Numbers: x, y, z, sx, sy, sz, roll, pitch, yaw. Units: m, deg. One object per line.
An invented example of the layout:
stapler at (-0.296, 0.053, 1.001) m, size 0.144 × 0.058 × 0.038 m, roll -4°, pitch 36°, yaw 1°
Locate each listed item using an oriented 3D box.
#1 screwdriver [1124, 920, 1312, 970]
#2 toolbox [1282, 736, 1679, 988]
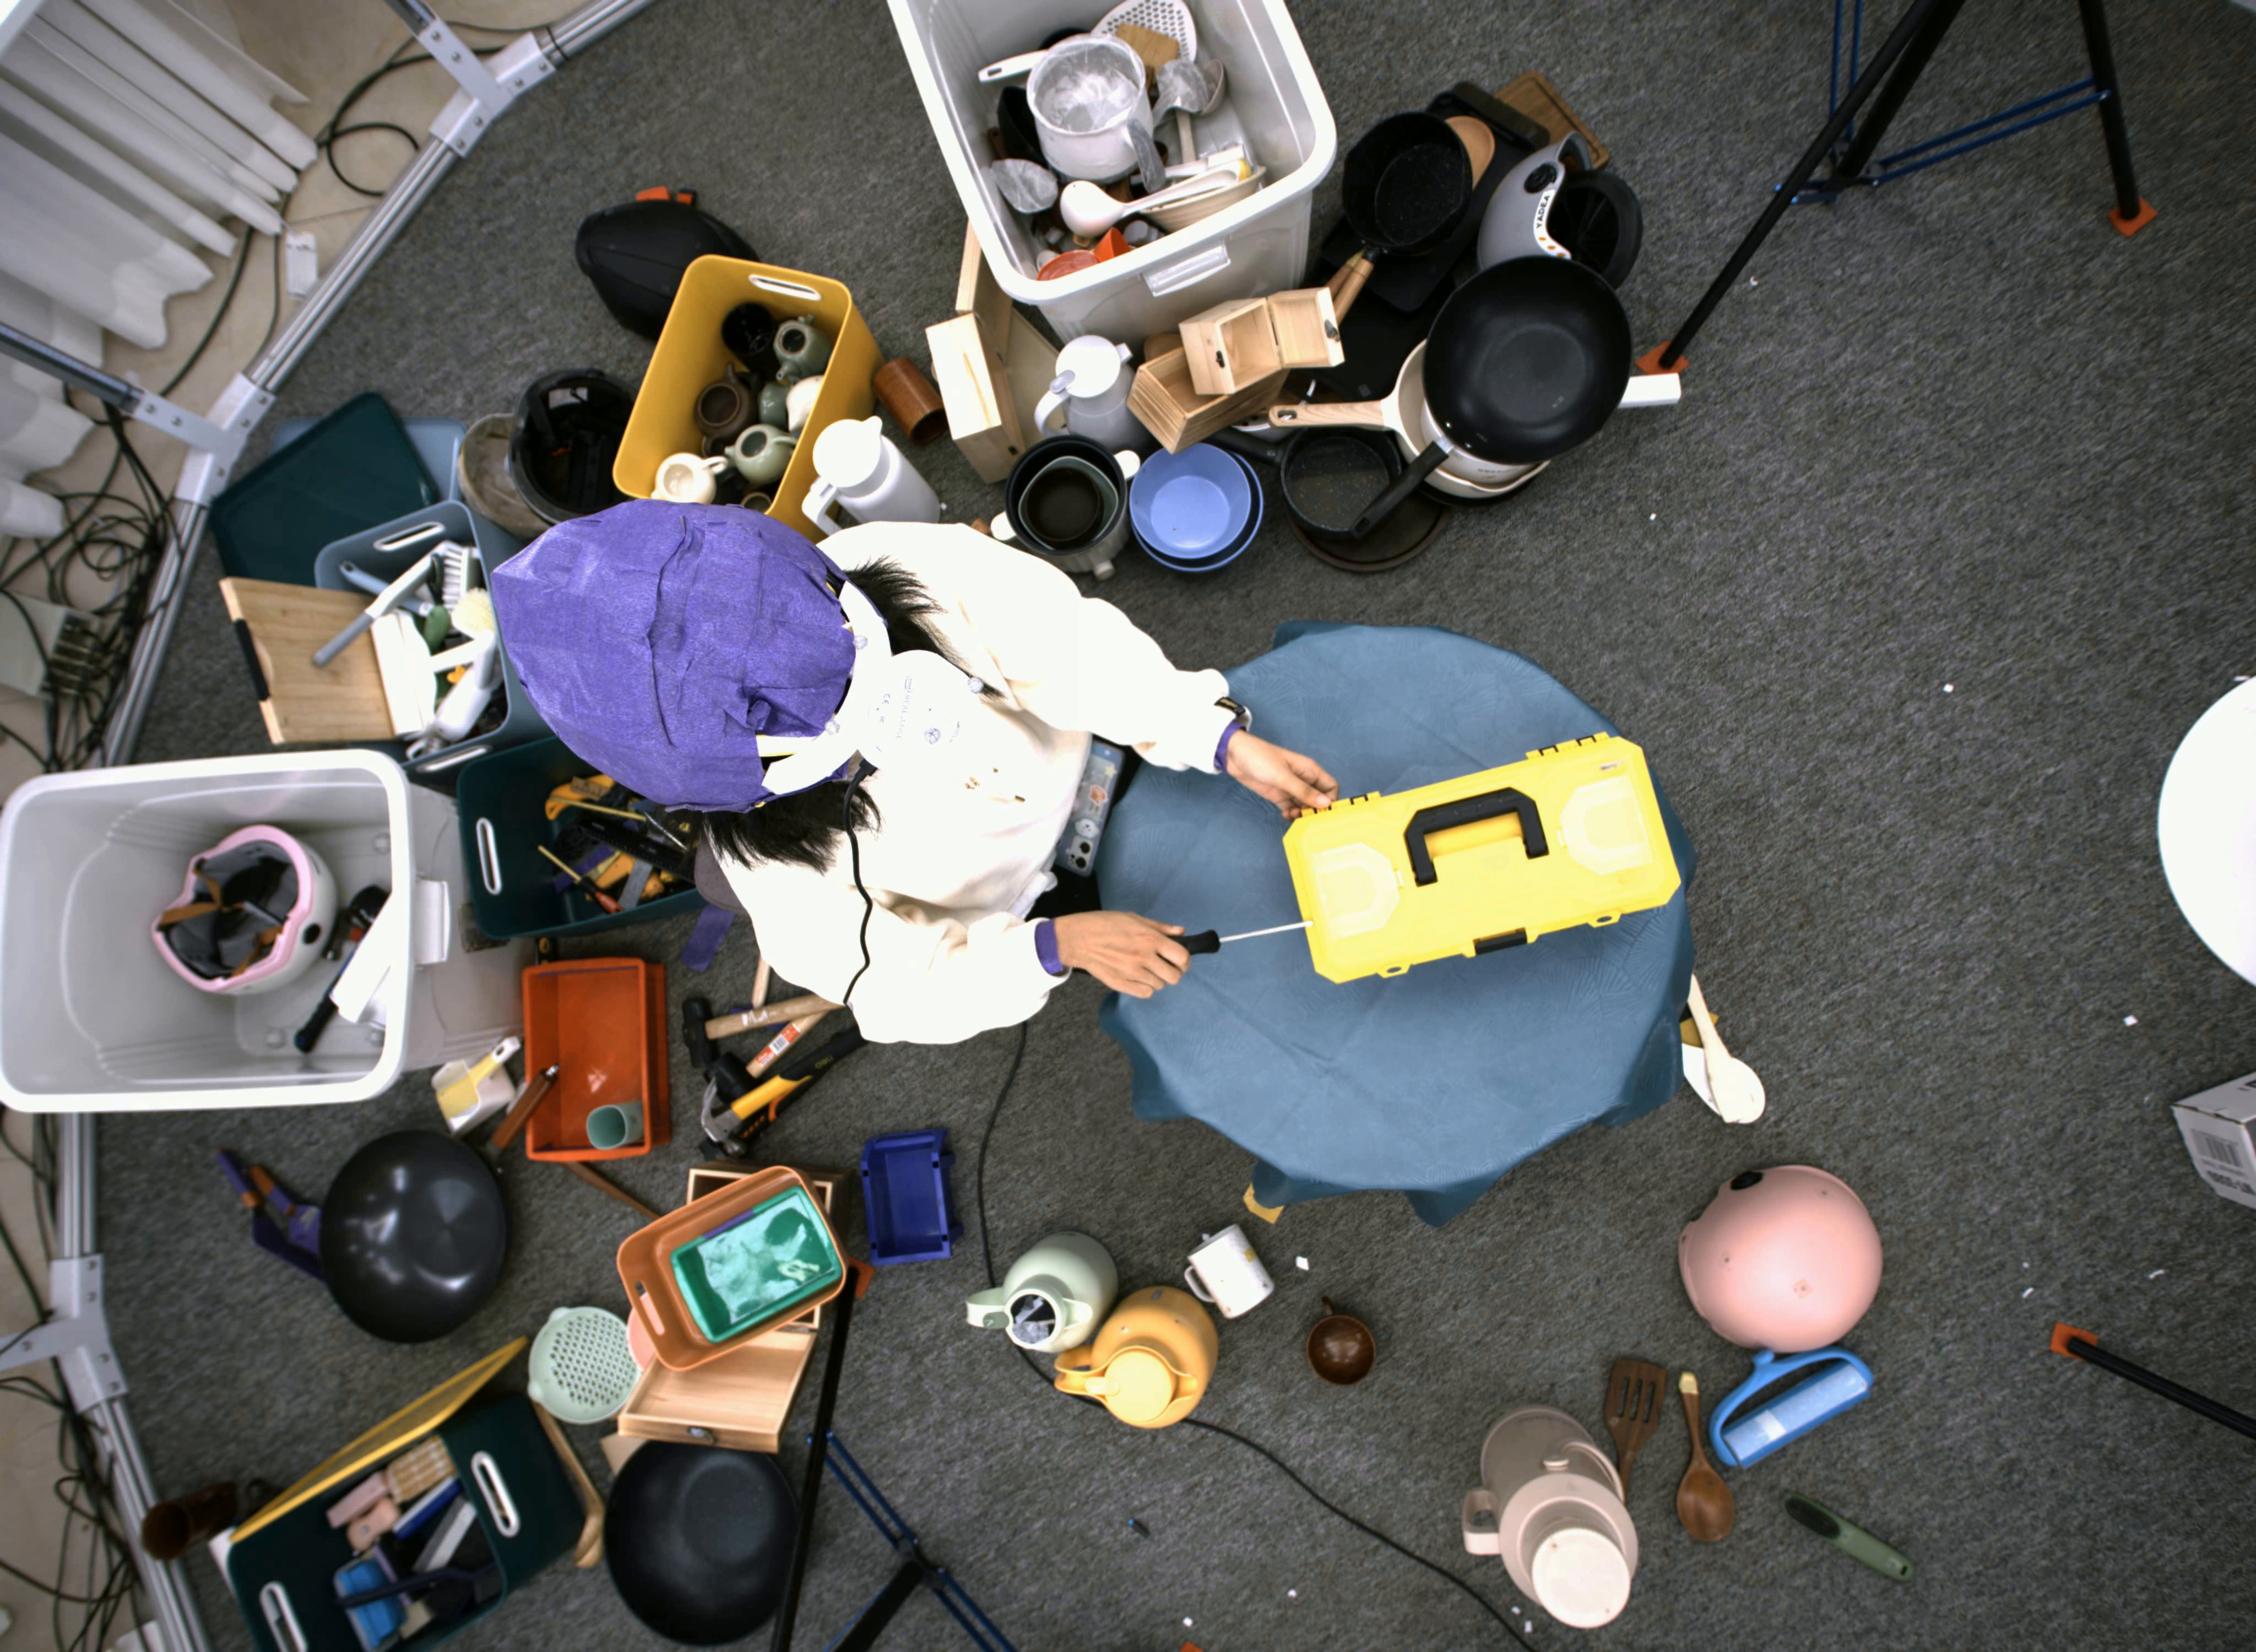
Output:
screwdriver at (0.086, 0.114, 1.353) m, size 0.198 × 0.031 × 0.031 m, roll -12°, pitch 83°, yaw 25°
toolbox at (0.341, 0.037, 1.361) m, size 0.353 × 0.173 × 0.180 m, roll -14°, pitch 83°, yaw 9°
